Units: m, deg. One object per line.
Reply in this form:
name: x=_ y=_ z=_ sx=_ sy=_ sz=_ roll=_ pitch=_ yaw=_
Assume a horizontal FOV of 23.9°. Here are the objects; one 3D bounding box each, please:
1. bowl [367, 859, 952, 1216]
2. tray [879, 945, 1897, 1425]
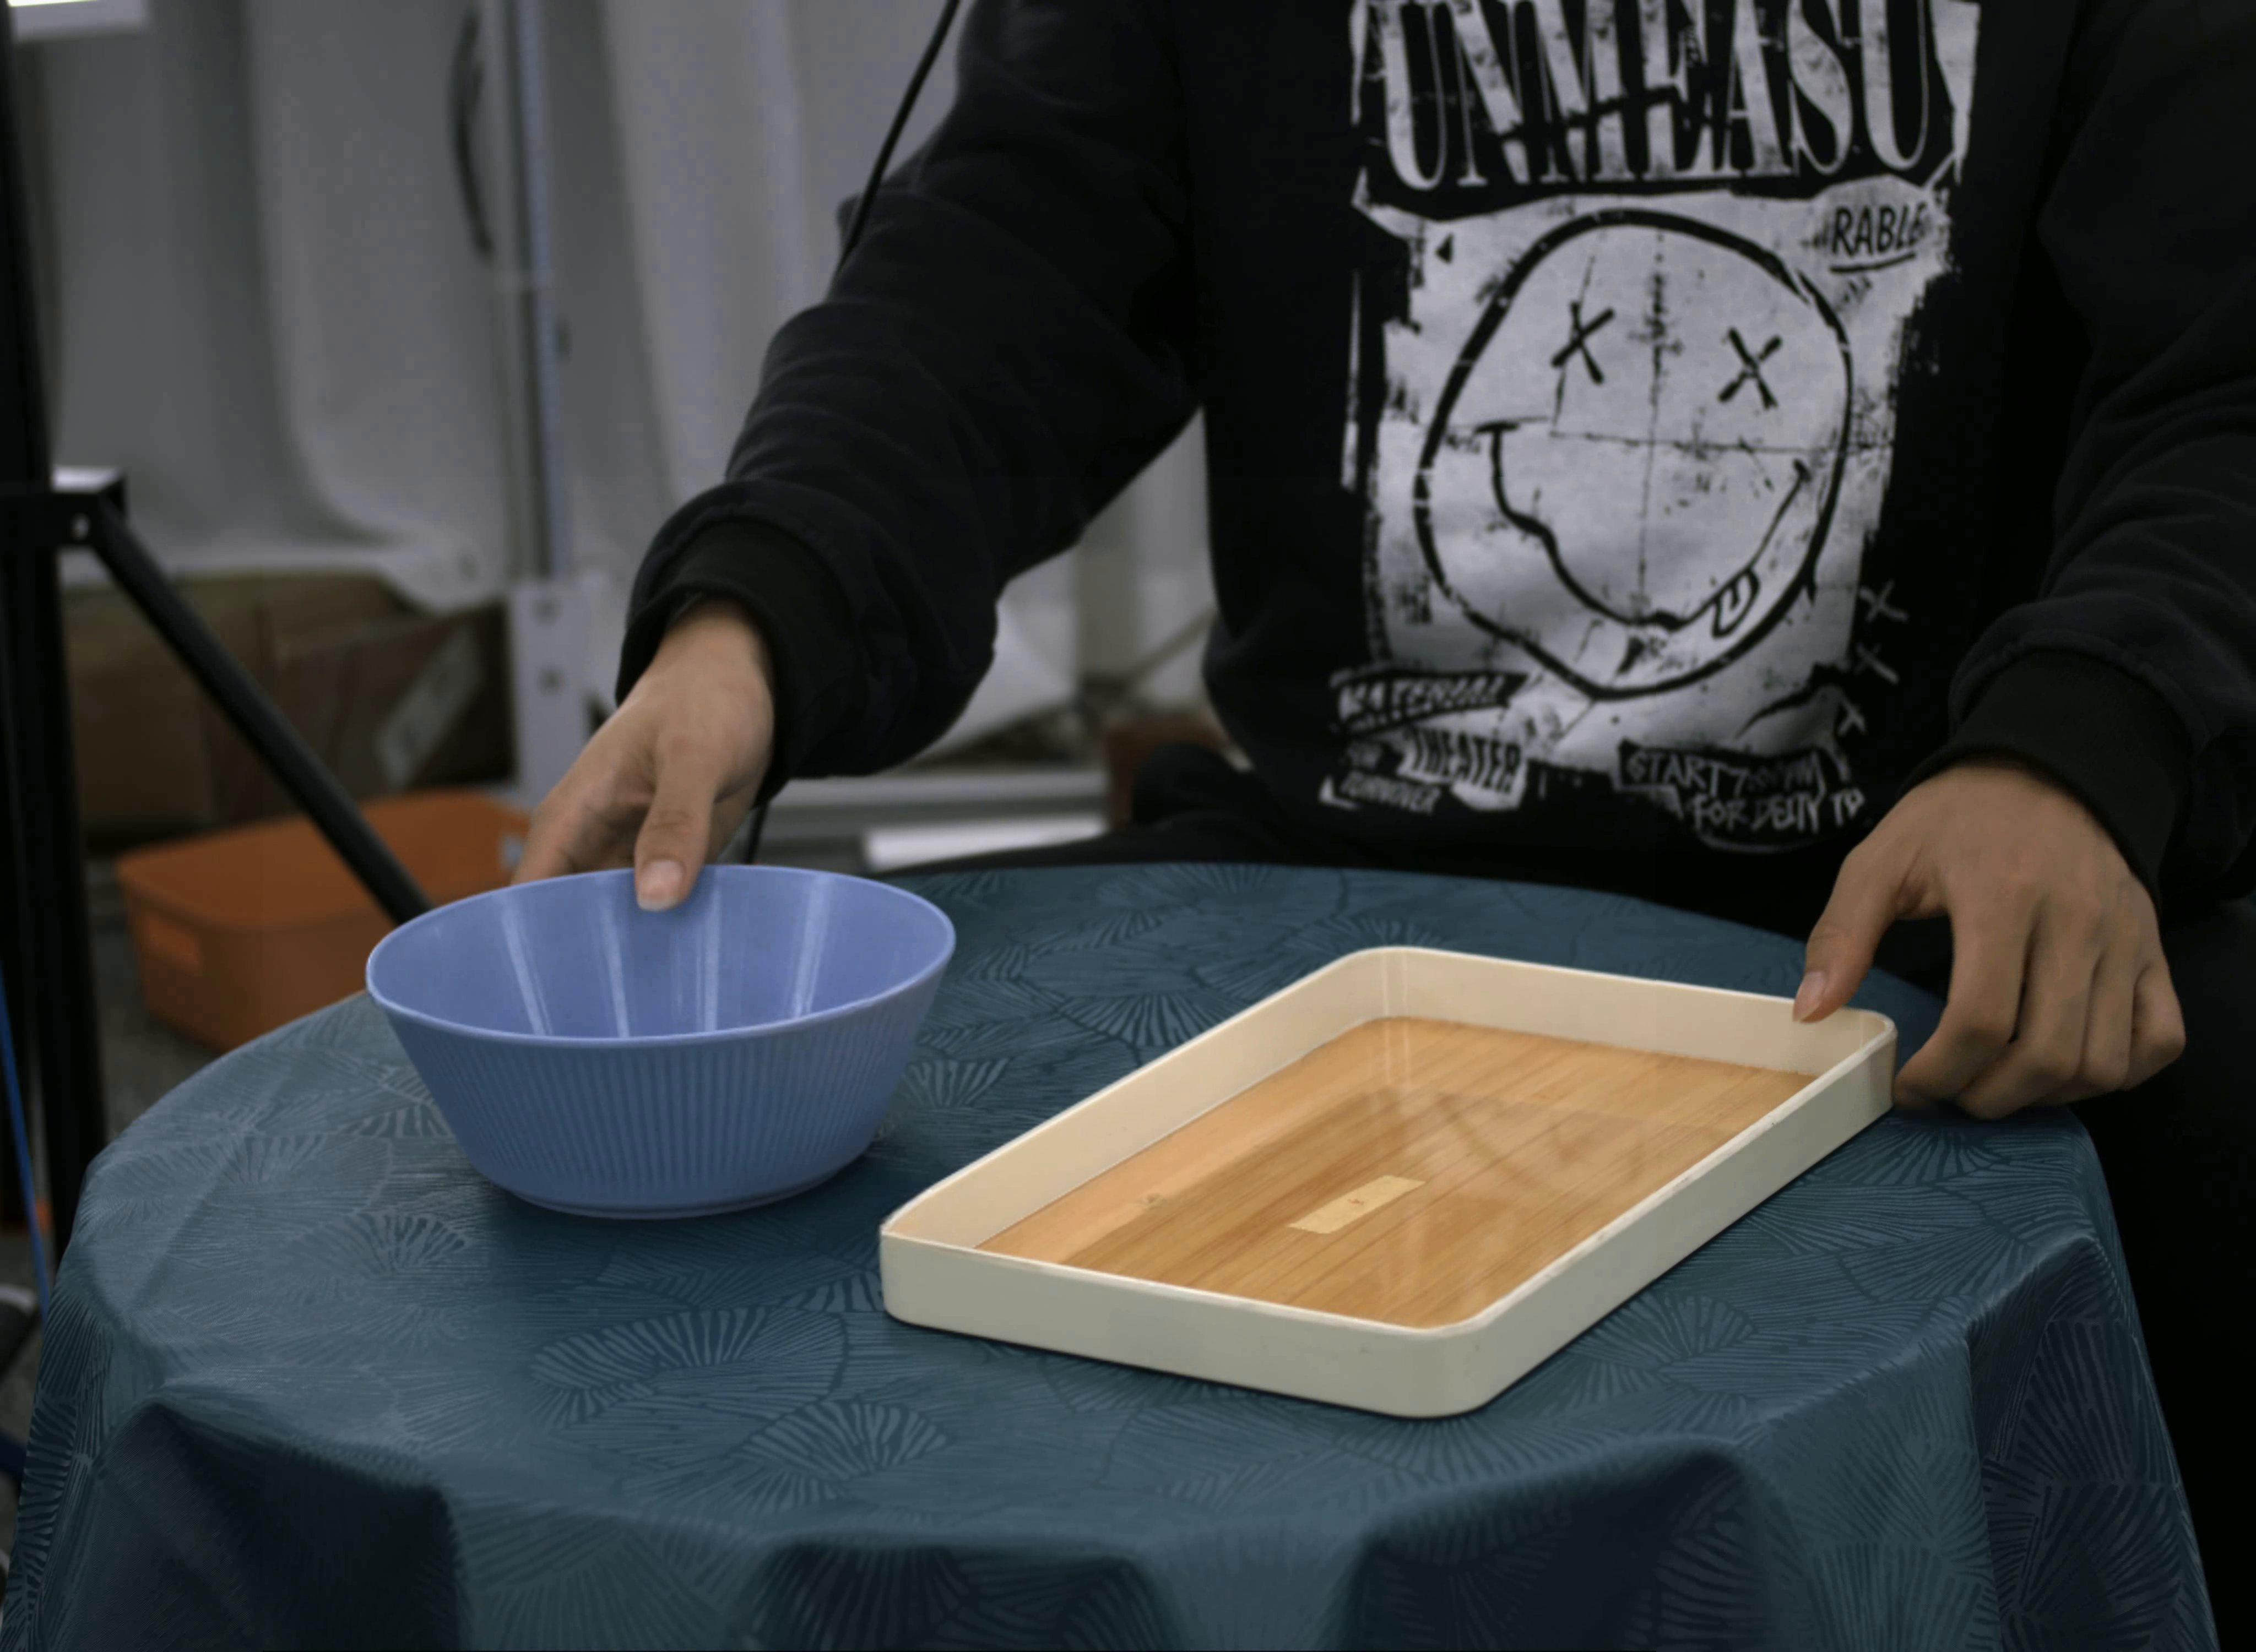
bowl: x=-0.139 y=0.066 z=1.599 sx=0.175 sy=0.070 sz=0.177 roll=-2 pitch=17 yaw=-1
tray: x=0.082 y=0.098 z=1.532 sx=0.195 sy=0.027 sz=0.295 roll=8 pitch=19 yaw=31
